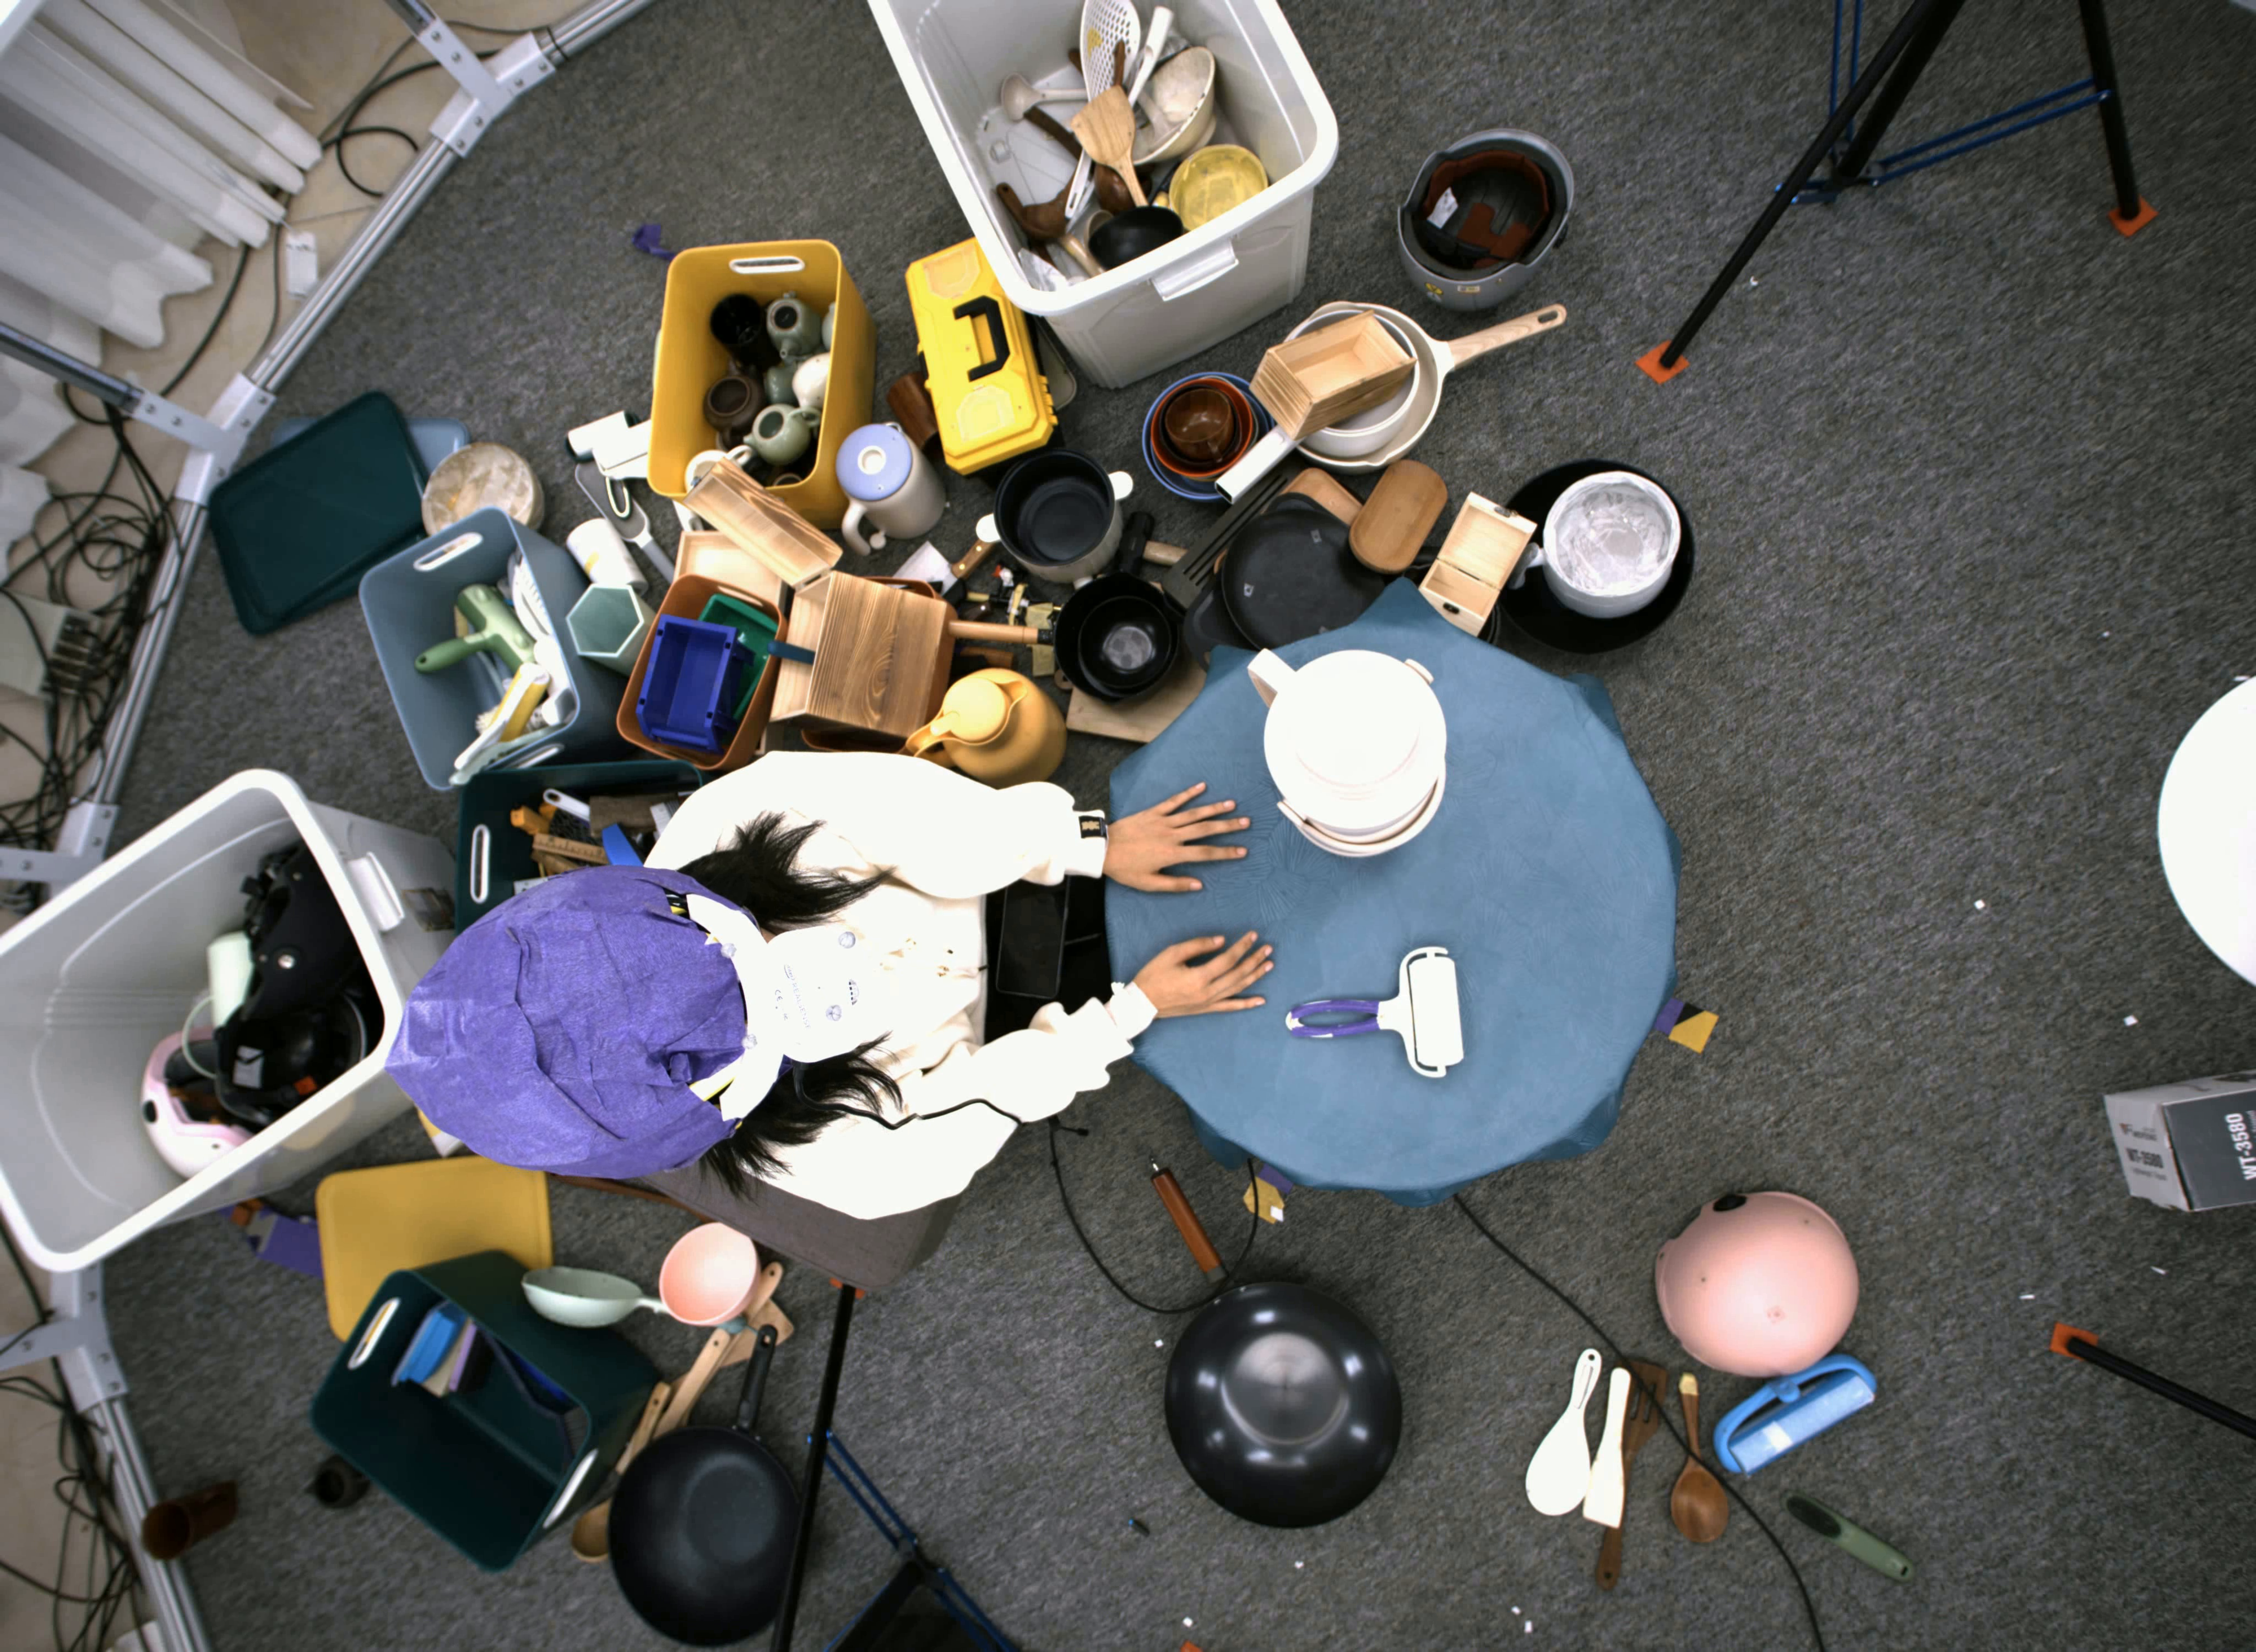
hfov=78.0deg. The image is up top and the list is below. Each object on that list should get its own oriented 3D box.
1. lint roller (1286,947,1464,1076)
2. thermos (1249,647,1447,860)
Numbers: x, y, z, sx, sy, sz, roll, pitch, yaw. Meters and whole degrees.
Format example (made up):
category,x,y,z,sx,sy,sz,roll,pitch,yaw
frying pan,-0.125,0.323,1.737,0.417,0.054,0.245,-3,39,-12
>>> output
category,x,y,z,sx,sy,sz,roll,pitch,yaw
lint roller,0.253,0.193,1.432,0.181,0.050,0.132,-3,87,8
thermos,0.202,-0.076,1.280,0.206,0.407,0.176,42,93,11
